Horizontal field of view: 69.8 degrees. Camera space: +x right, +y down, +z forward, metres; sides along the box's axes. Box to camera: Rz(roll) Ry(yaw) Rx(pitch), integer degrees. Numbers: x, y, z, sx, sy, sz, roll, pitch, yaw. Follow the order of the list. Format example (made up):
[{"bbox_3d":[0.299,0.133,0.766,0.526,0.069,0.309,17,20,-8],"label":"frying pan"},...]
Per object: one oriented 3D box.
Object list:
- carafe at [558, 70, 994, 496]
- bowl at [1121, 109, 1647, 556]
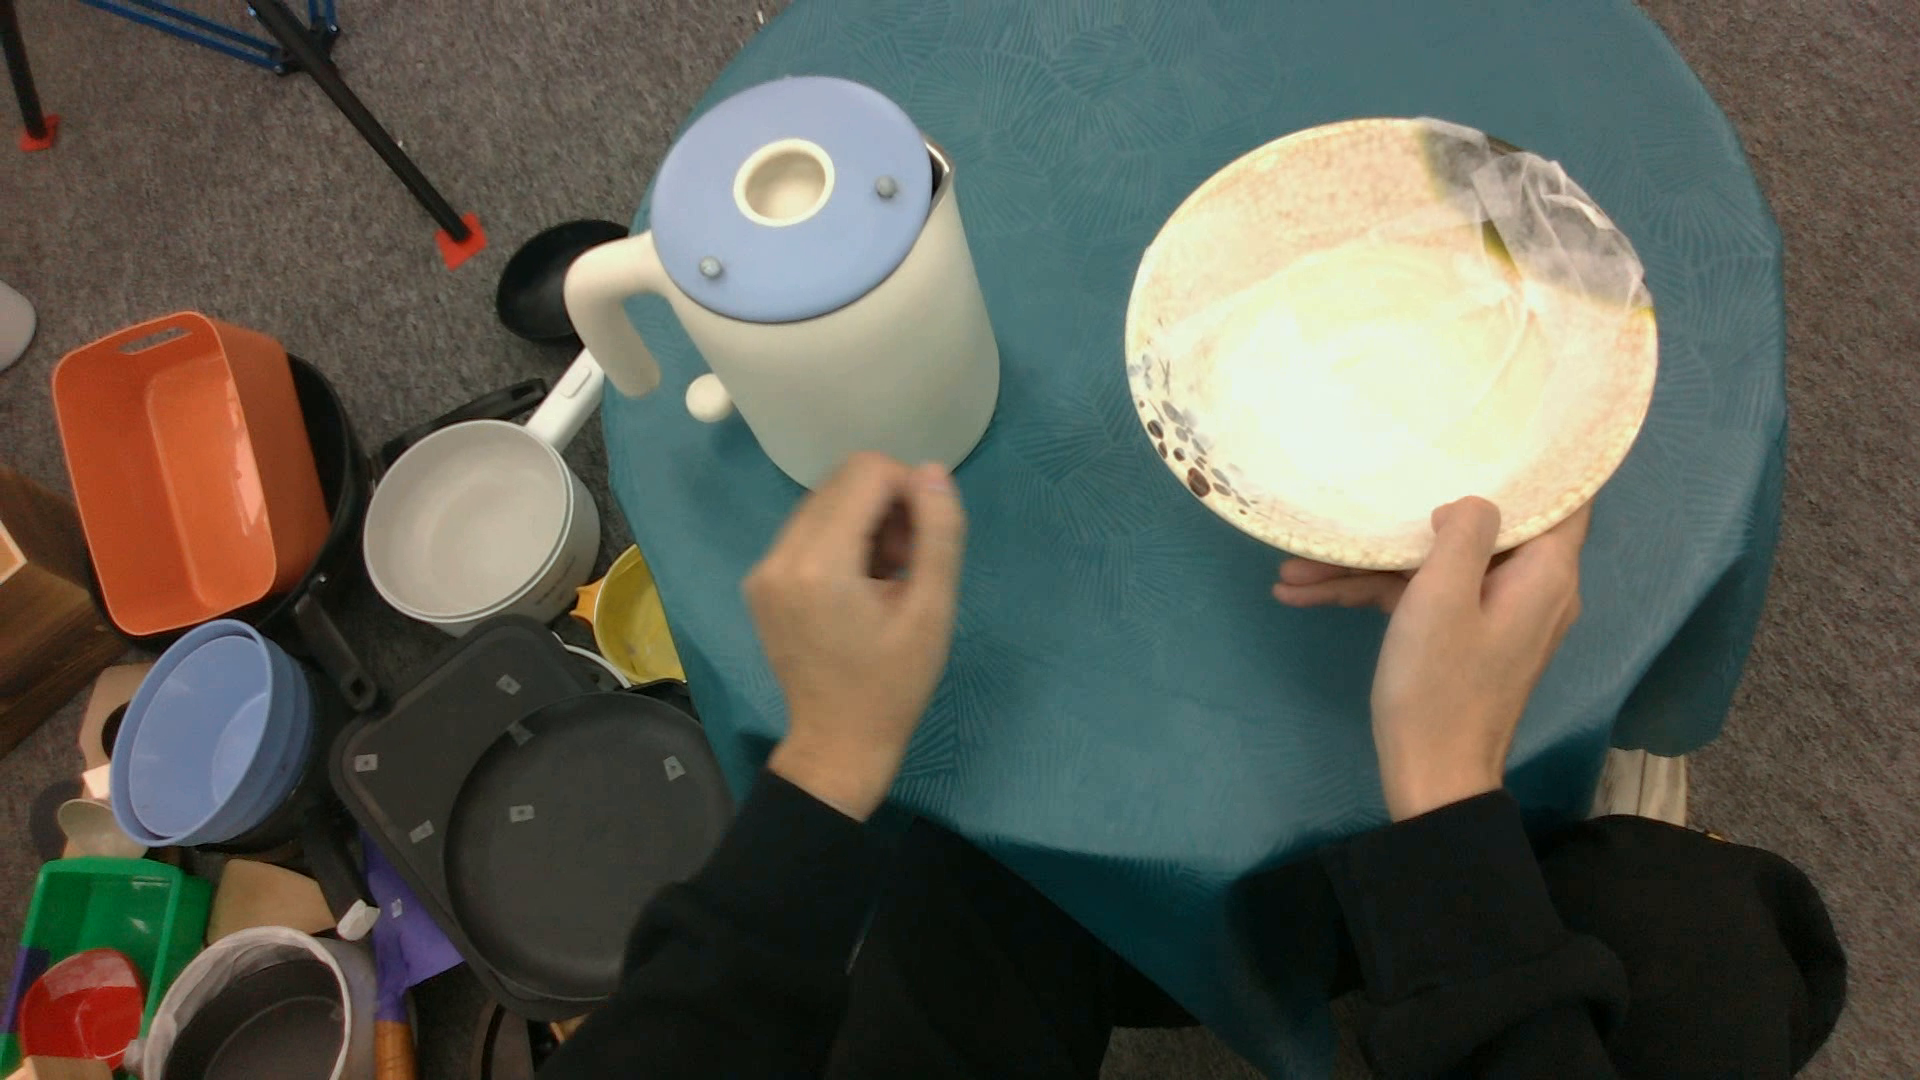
[{"bbox_3d":[-0.083,-0.107,0.639,0.191,0.182,0.132,-13,64,7],"label":"carafe"},{"bbox_3d":[0.173,-0.077,0.587,0.204,0.078,0.204,-4,68,10],"label":"bowl"}]
